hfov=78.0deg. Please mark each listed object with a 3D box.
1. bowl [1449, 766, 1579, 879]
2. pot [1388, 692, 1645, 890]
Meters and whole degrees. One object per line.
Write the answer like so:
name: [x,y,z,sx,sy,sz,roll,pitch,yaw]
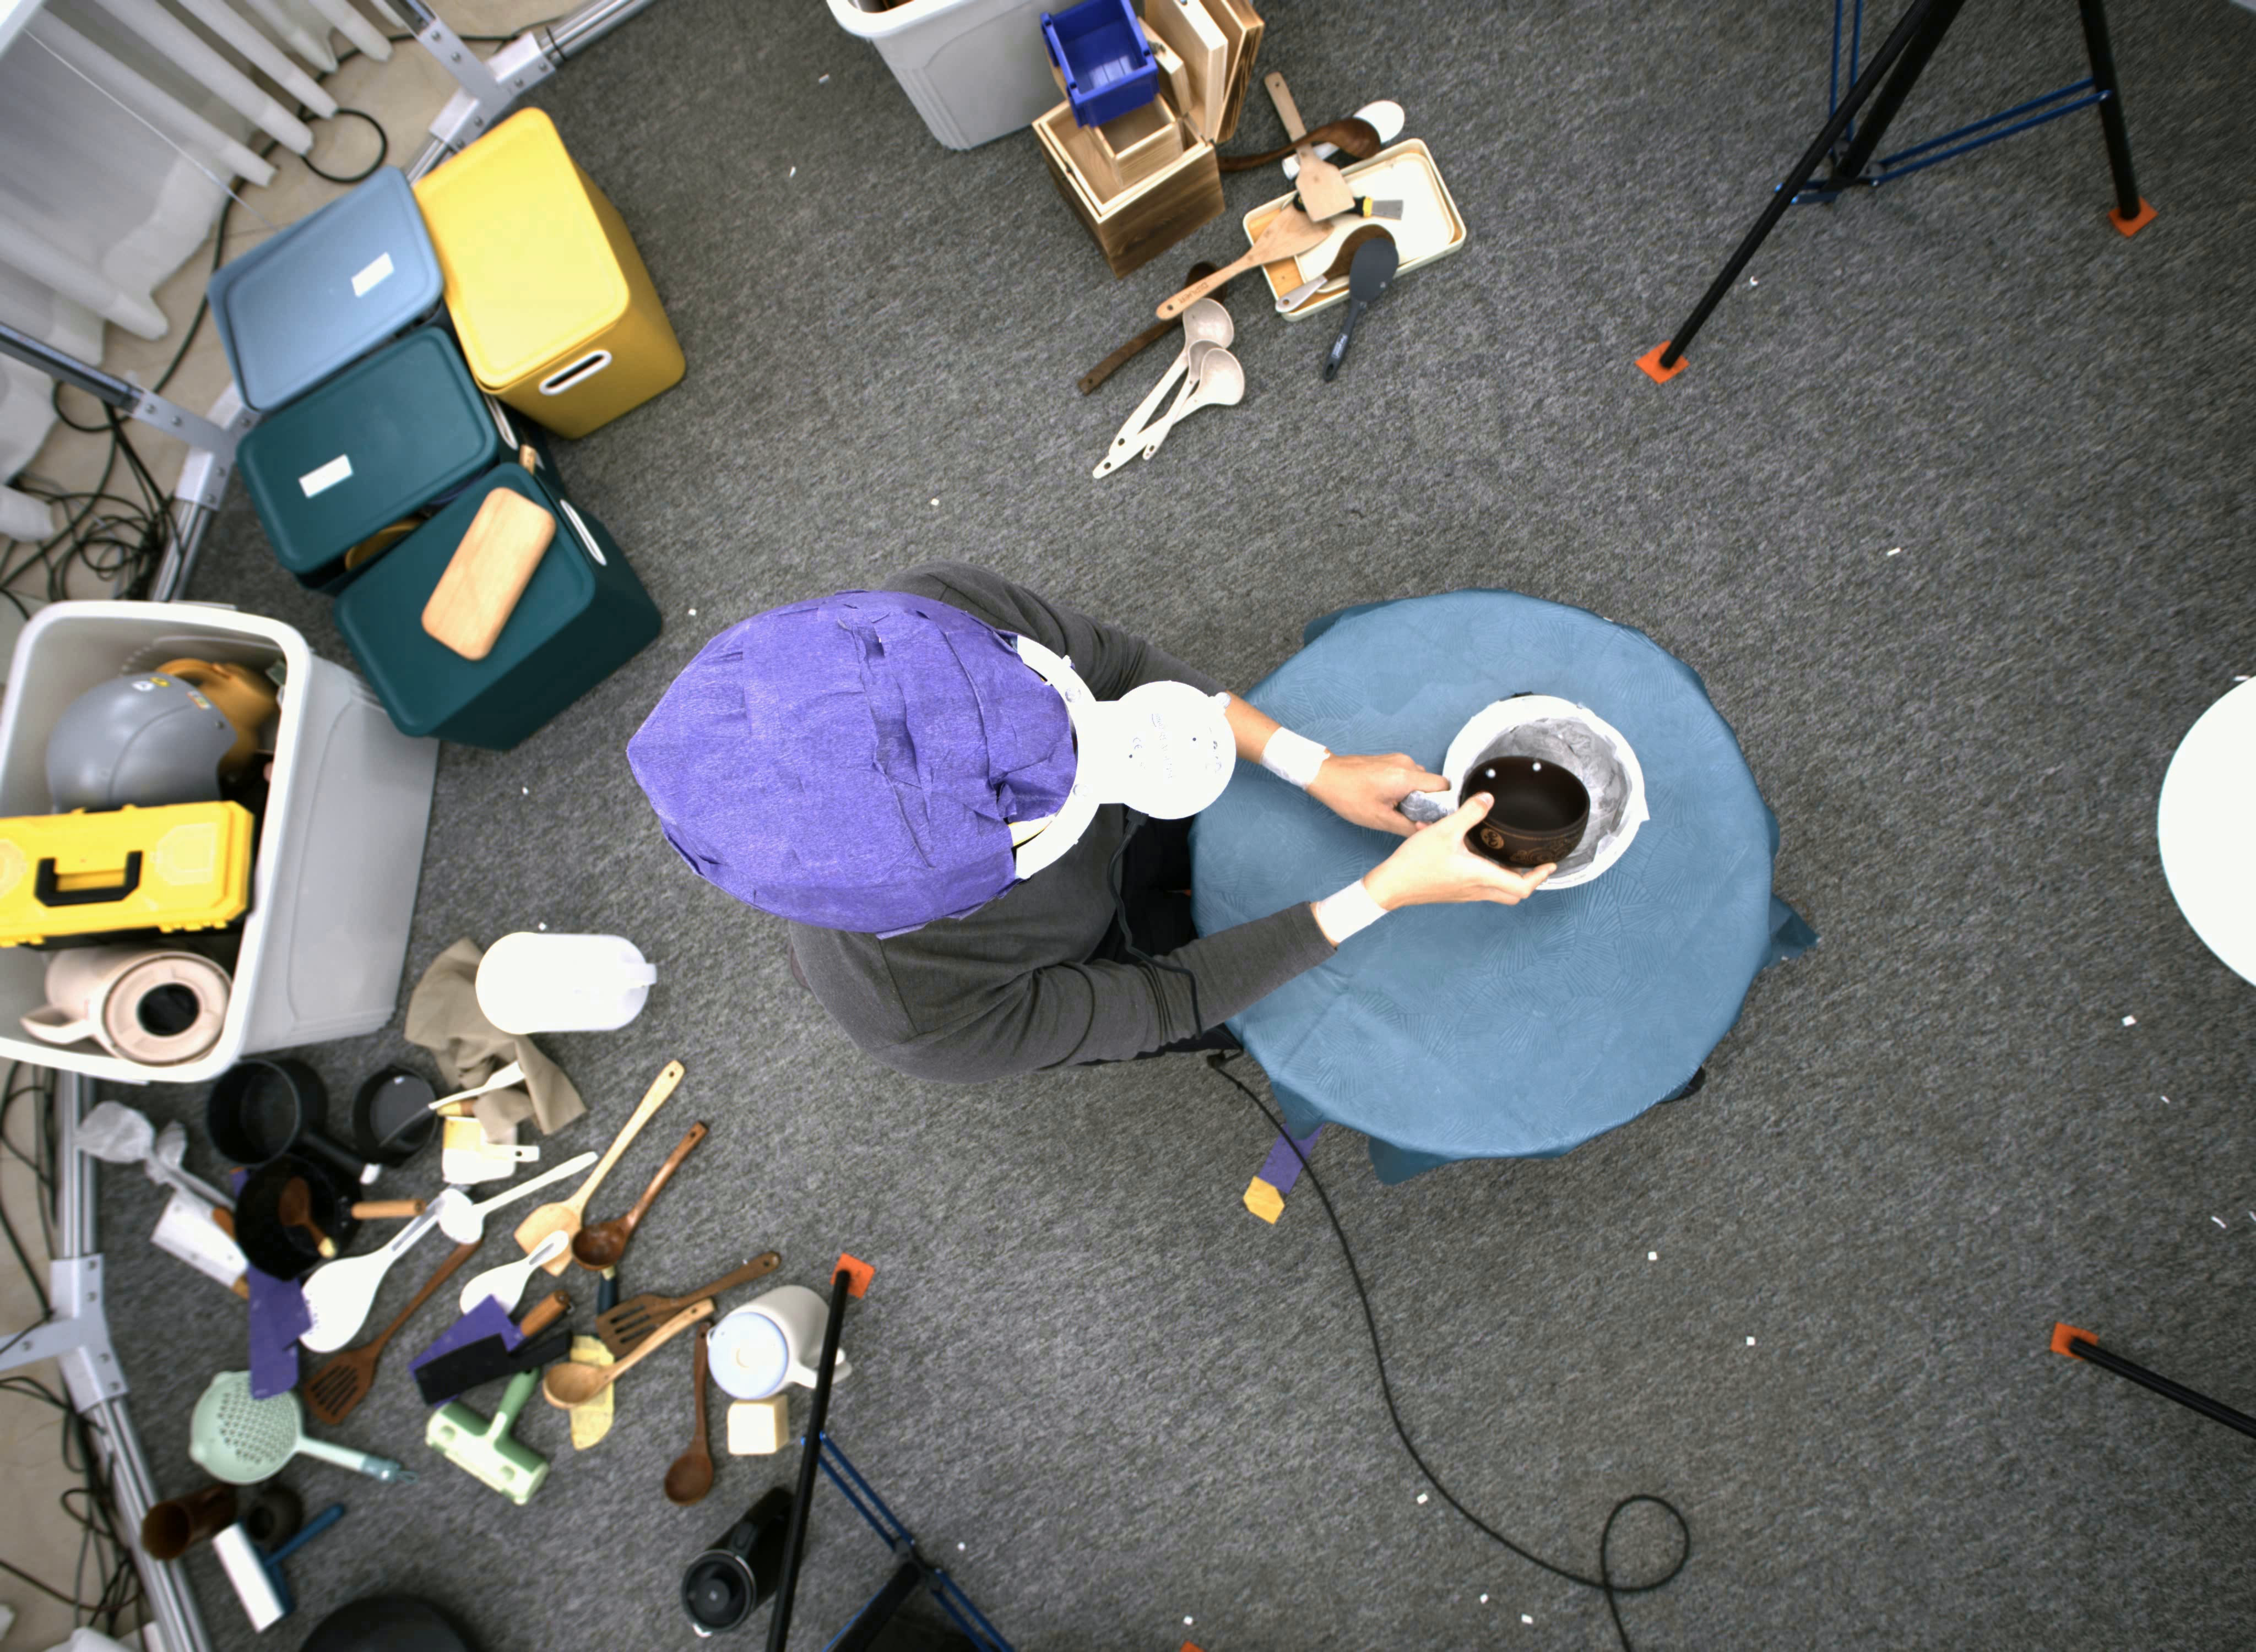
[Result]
bowl: [0.362,0.003,1.289,0.118,0.115,0.071,-7,130,6]
pot: [0.378,-0.037,1.361,0.235,0.134,0.180,-7,103,9]
